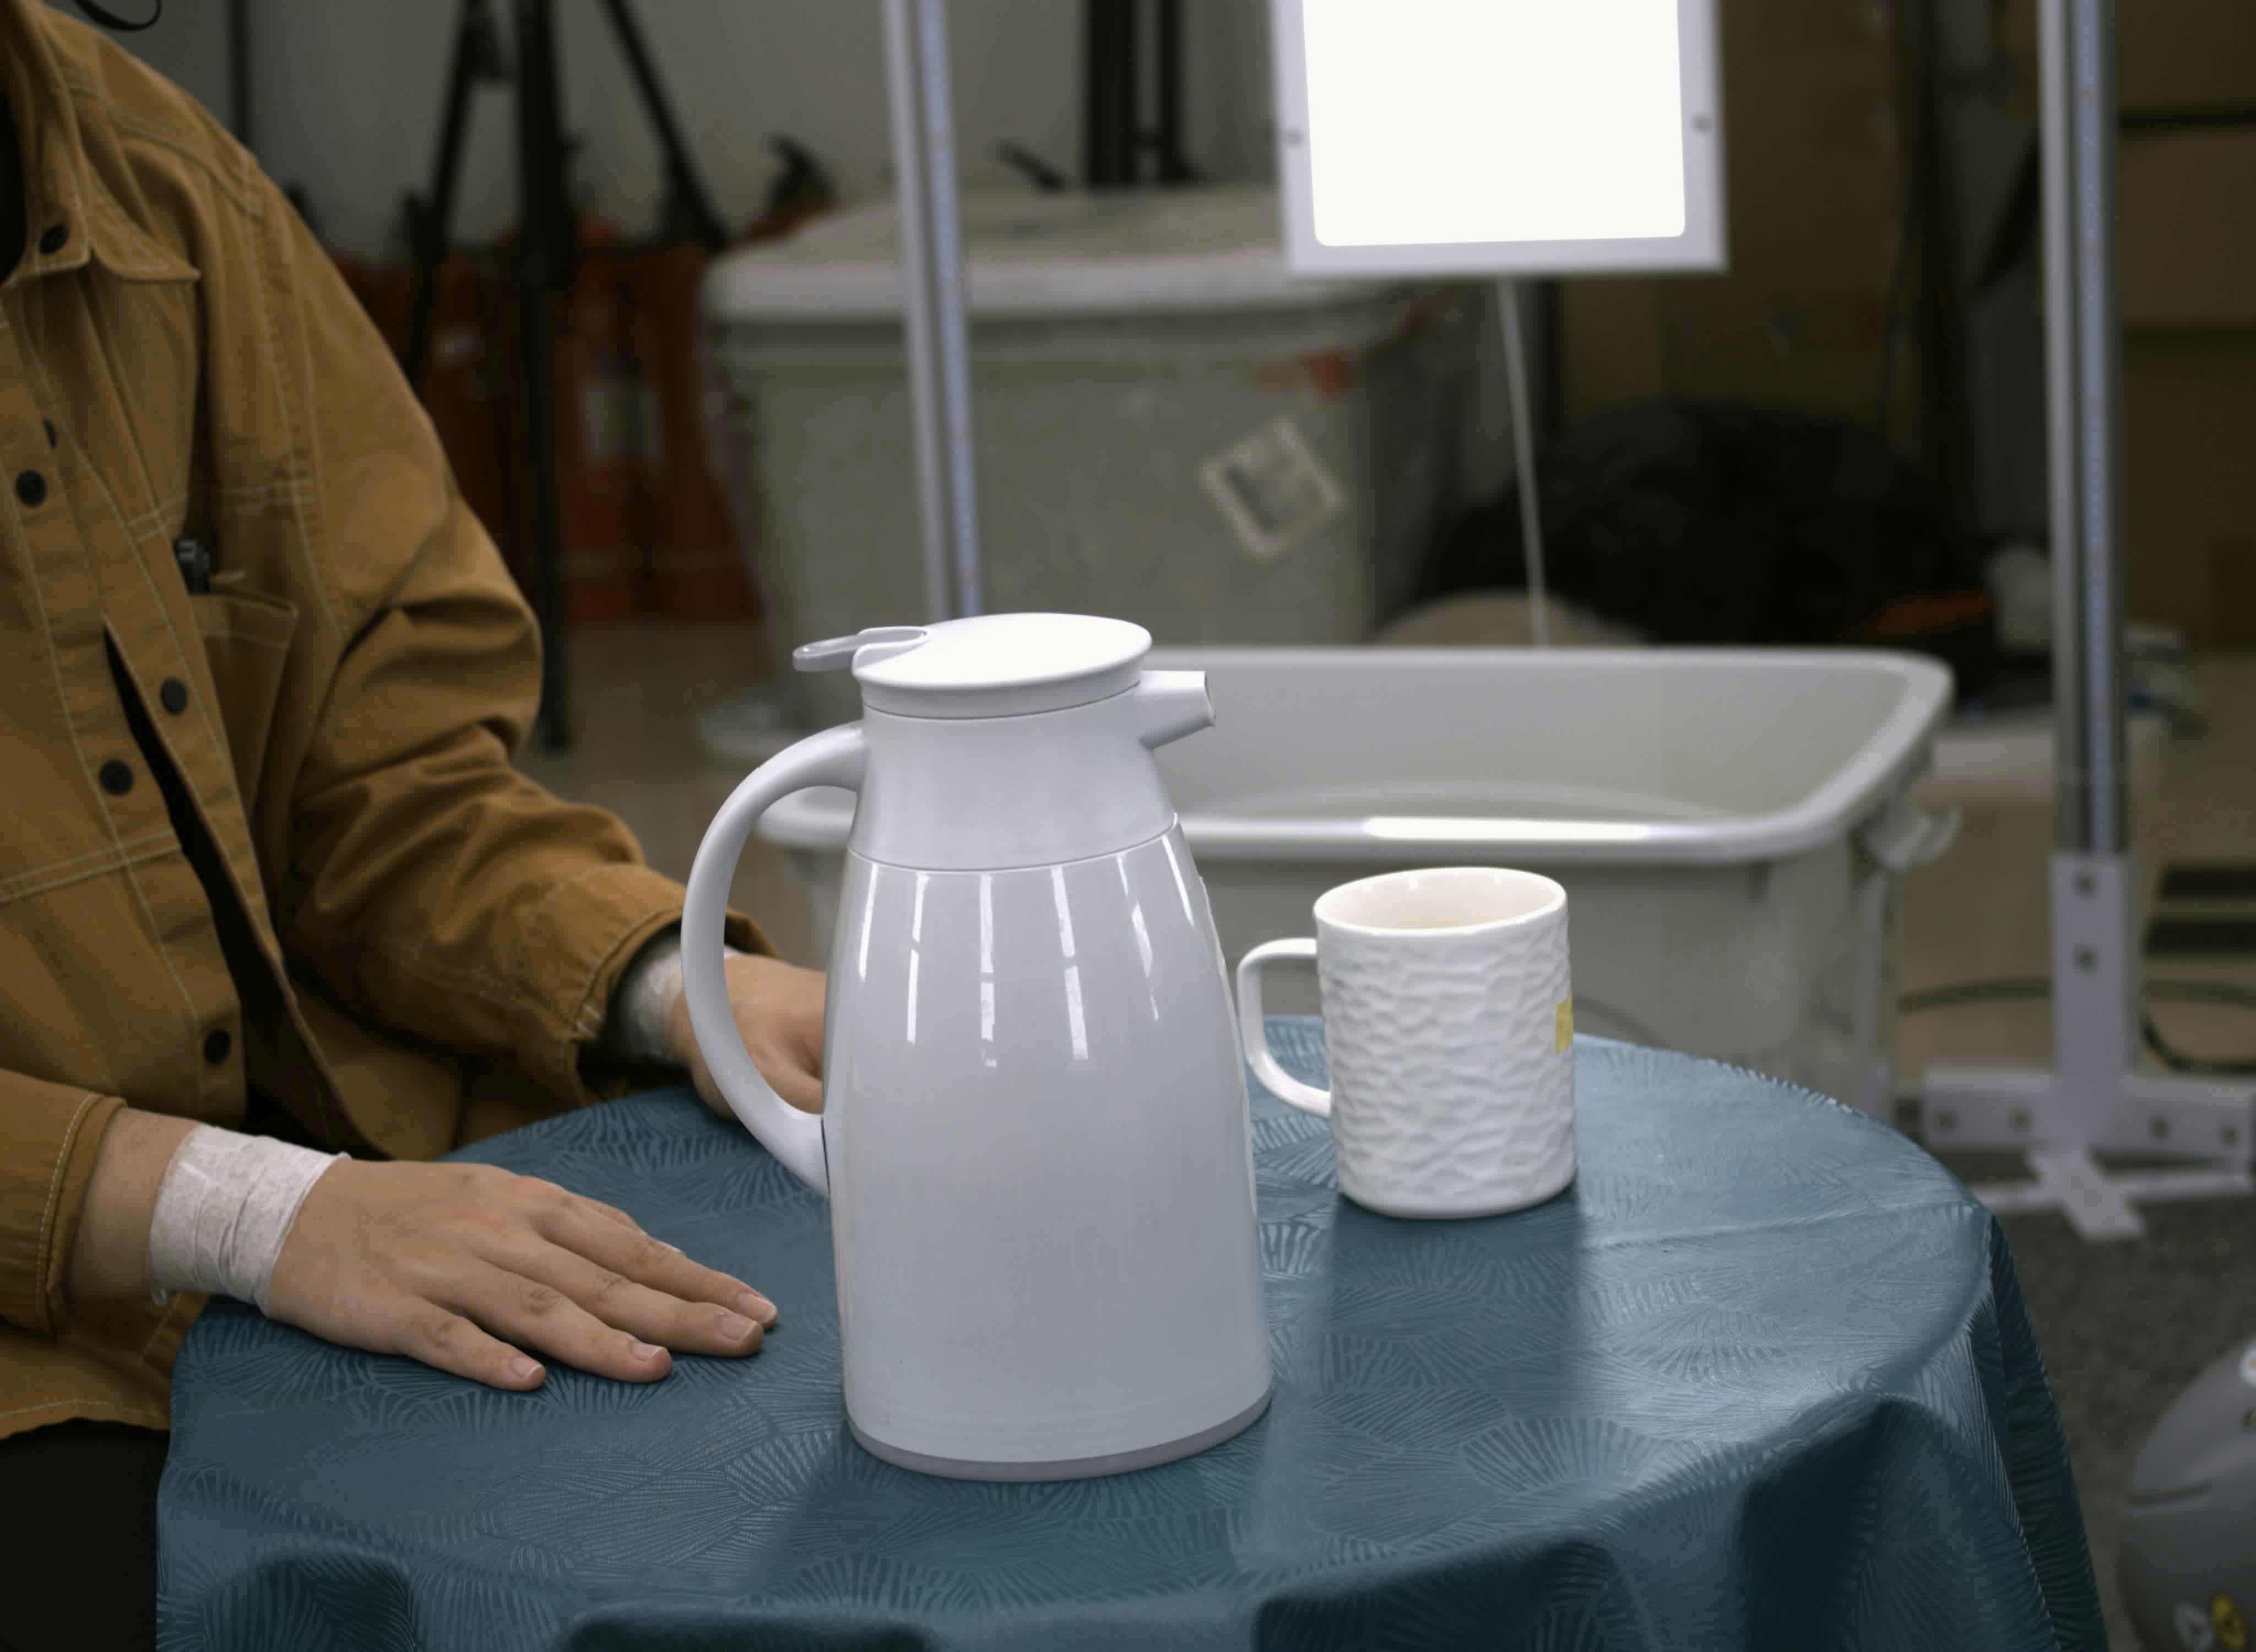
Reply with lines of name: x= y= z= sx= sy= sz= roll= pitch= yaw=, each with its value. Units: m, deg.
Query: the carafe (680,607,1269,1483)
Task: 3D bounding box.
carafe: x=-0.049 y=0.061 z=1.663 sx=0.167 sy=0.249 sz=0.132 roll=-4 pitch=14 yaw=3

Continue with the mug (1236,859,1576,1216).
mug: x=0.094 y=0.071 z=1.867 sx=0.120 sy=0.102 sz=0.083 roll=3 pitch=17 yaw=23
